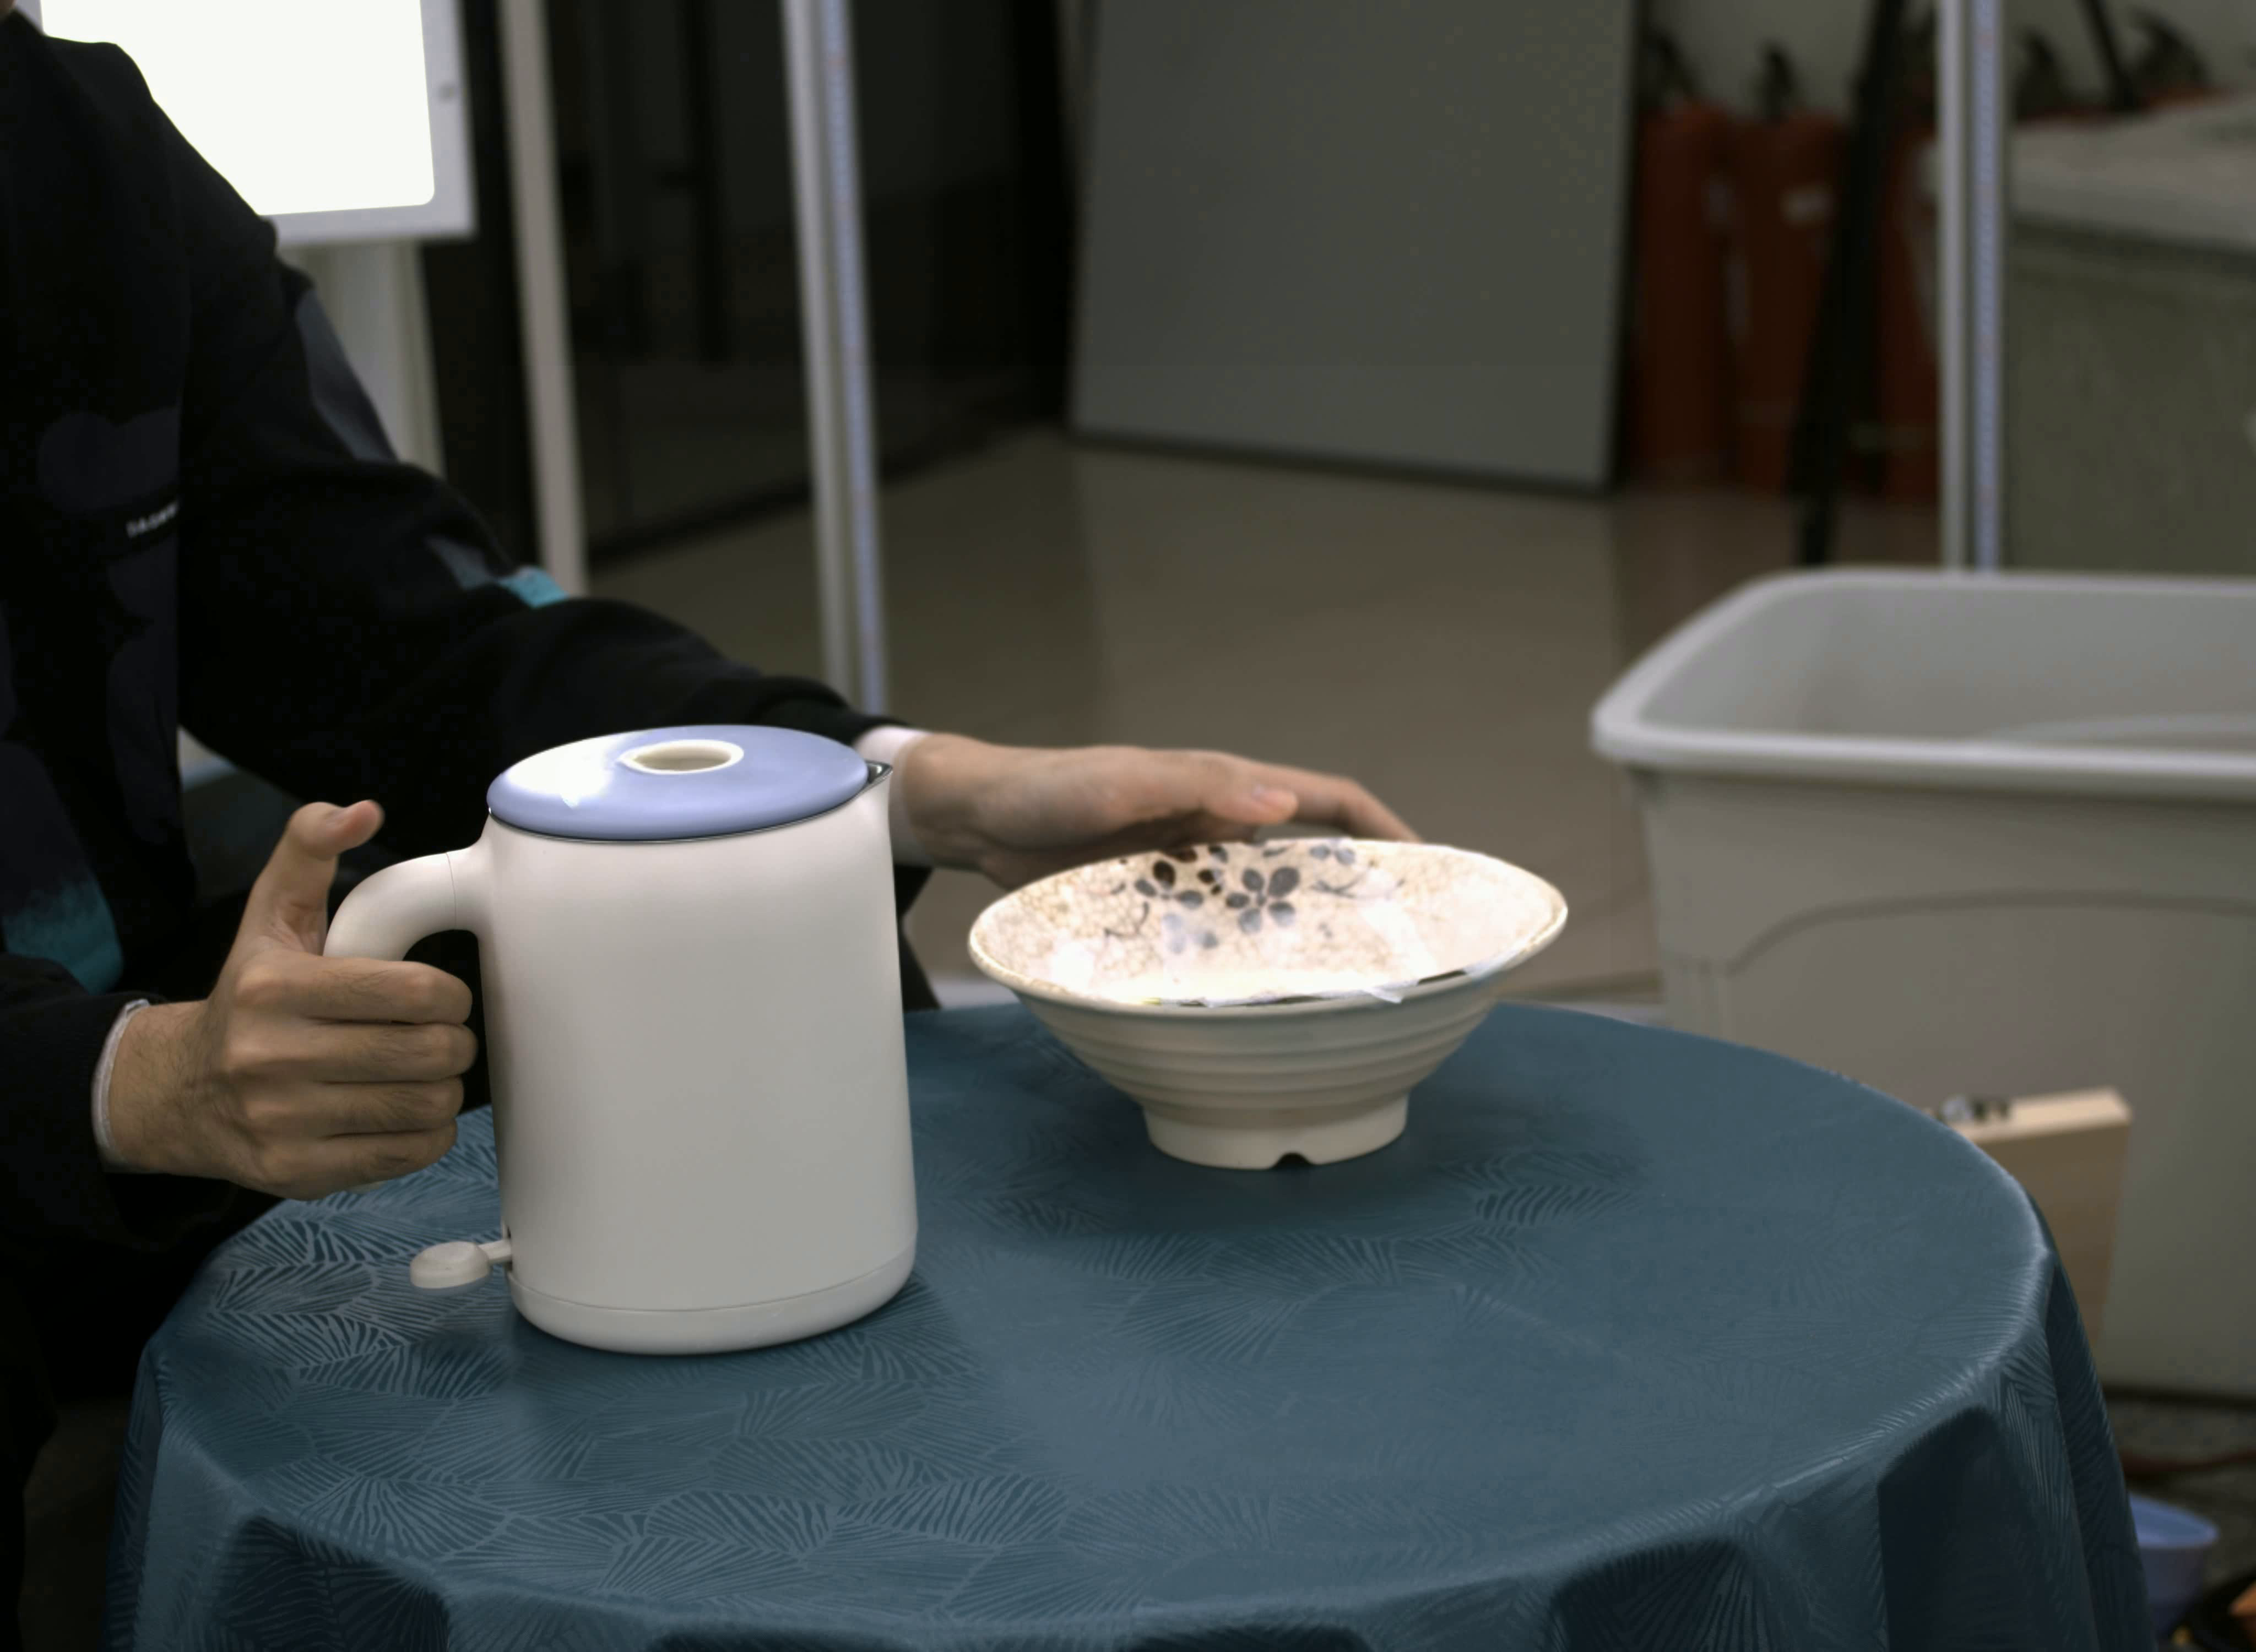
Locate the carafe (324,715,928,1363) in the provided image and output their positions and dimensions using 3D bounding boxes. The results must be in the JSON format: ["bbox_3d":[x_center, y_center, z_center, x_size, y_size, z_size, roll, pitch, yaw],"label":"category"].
[{"bbox_3d":[-0.155,0.069,1.672,0.187,0.184,0.133,-10,14,-15],"label":"carafe"}]

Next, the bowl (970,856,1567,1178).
[{"bbox_3d":[0.050,0.069,1.811,0.201,0.079,0.204,-6,11,0],"label":"bowl"}]
